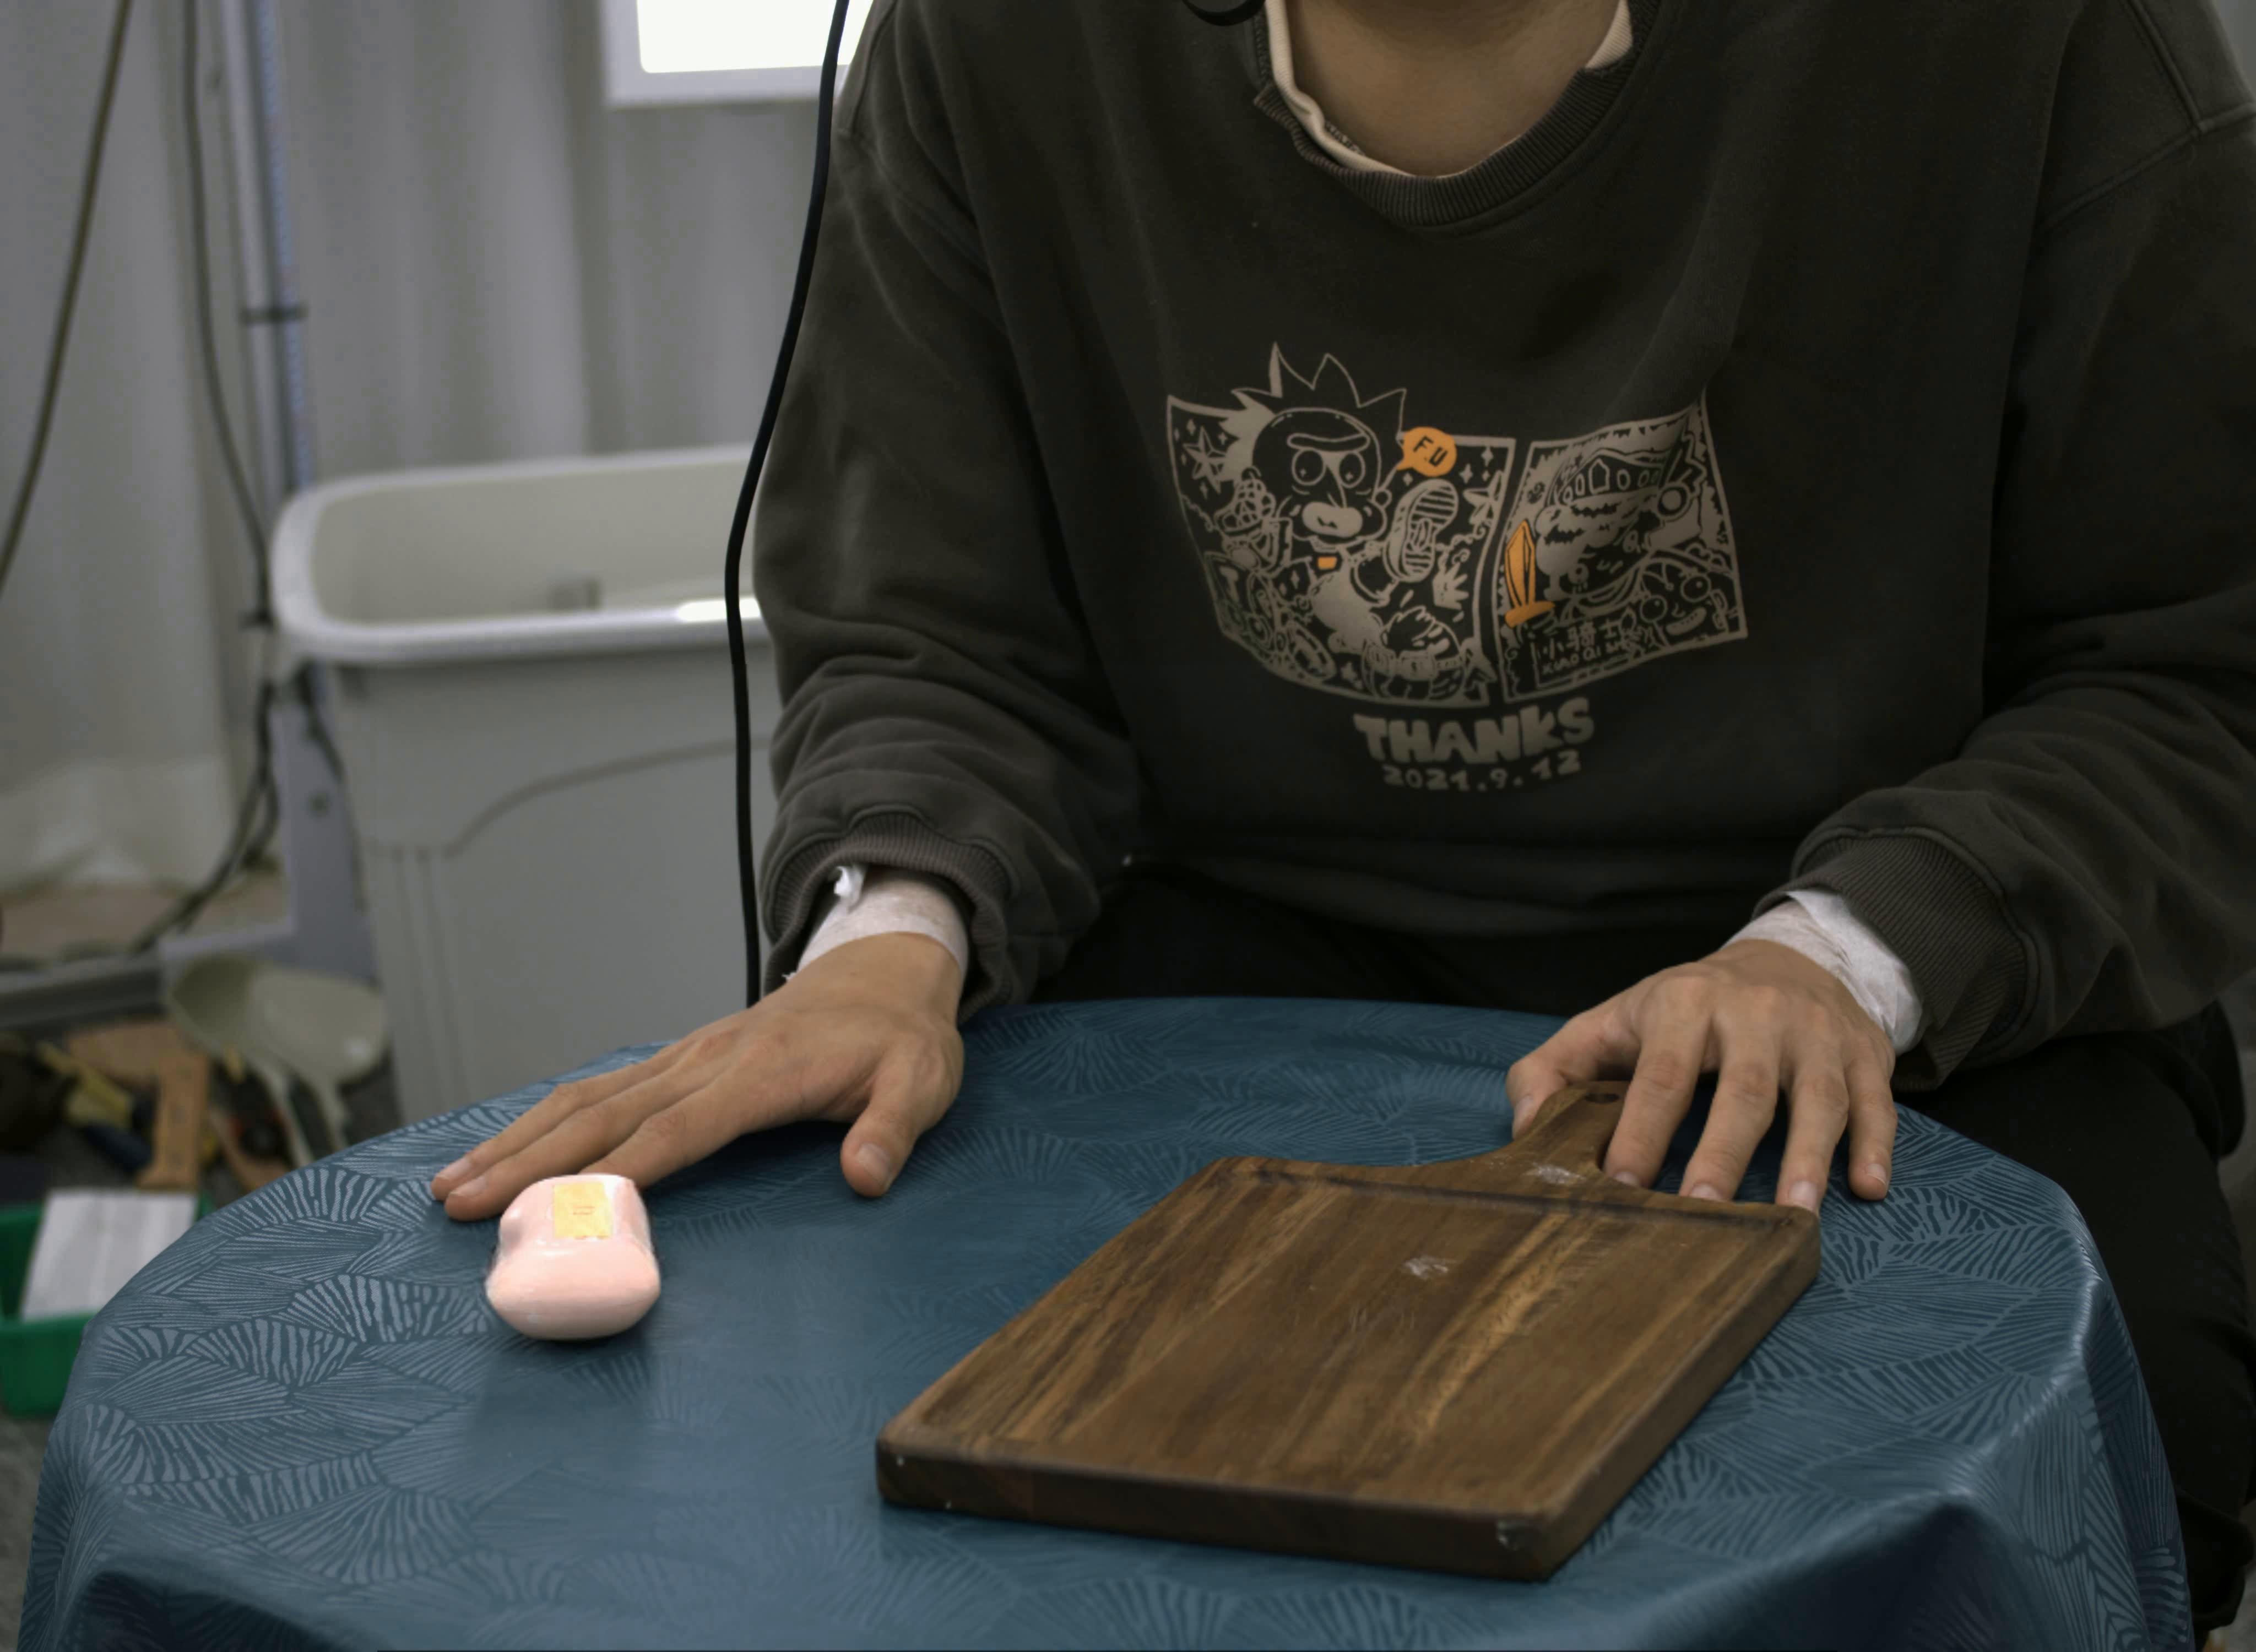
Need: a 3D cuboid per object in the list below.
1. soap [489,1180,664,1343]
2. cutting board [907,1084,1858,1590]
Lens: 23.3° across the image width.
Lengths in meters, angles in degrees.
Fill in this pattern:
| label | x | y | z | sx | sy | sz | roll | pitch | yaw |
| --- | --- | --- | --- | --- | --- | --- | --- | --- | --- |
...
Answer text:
| label | x | y | z | sx | sy | sz | roll | pitch | yaw |
| --- | --- | --- | --- | --- | --- | --- | --- | --- | --- |
| soap | -0.165 | 0.131 | 1.643 | 0.050 | 0.030 | 0.095 | -3 | 13 | -2 |
| cutting board | 0.097 | 0.137 | 1.581 | 0.201 | 0.023 | 0.353 | 4 | 16 | 24 |
